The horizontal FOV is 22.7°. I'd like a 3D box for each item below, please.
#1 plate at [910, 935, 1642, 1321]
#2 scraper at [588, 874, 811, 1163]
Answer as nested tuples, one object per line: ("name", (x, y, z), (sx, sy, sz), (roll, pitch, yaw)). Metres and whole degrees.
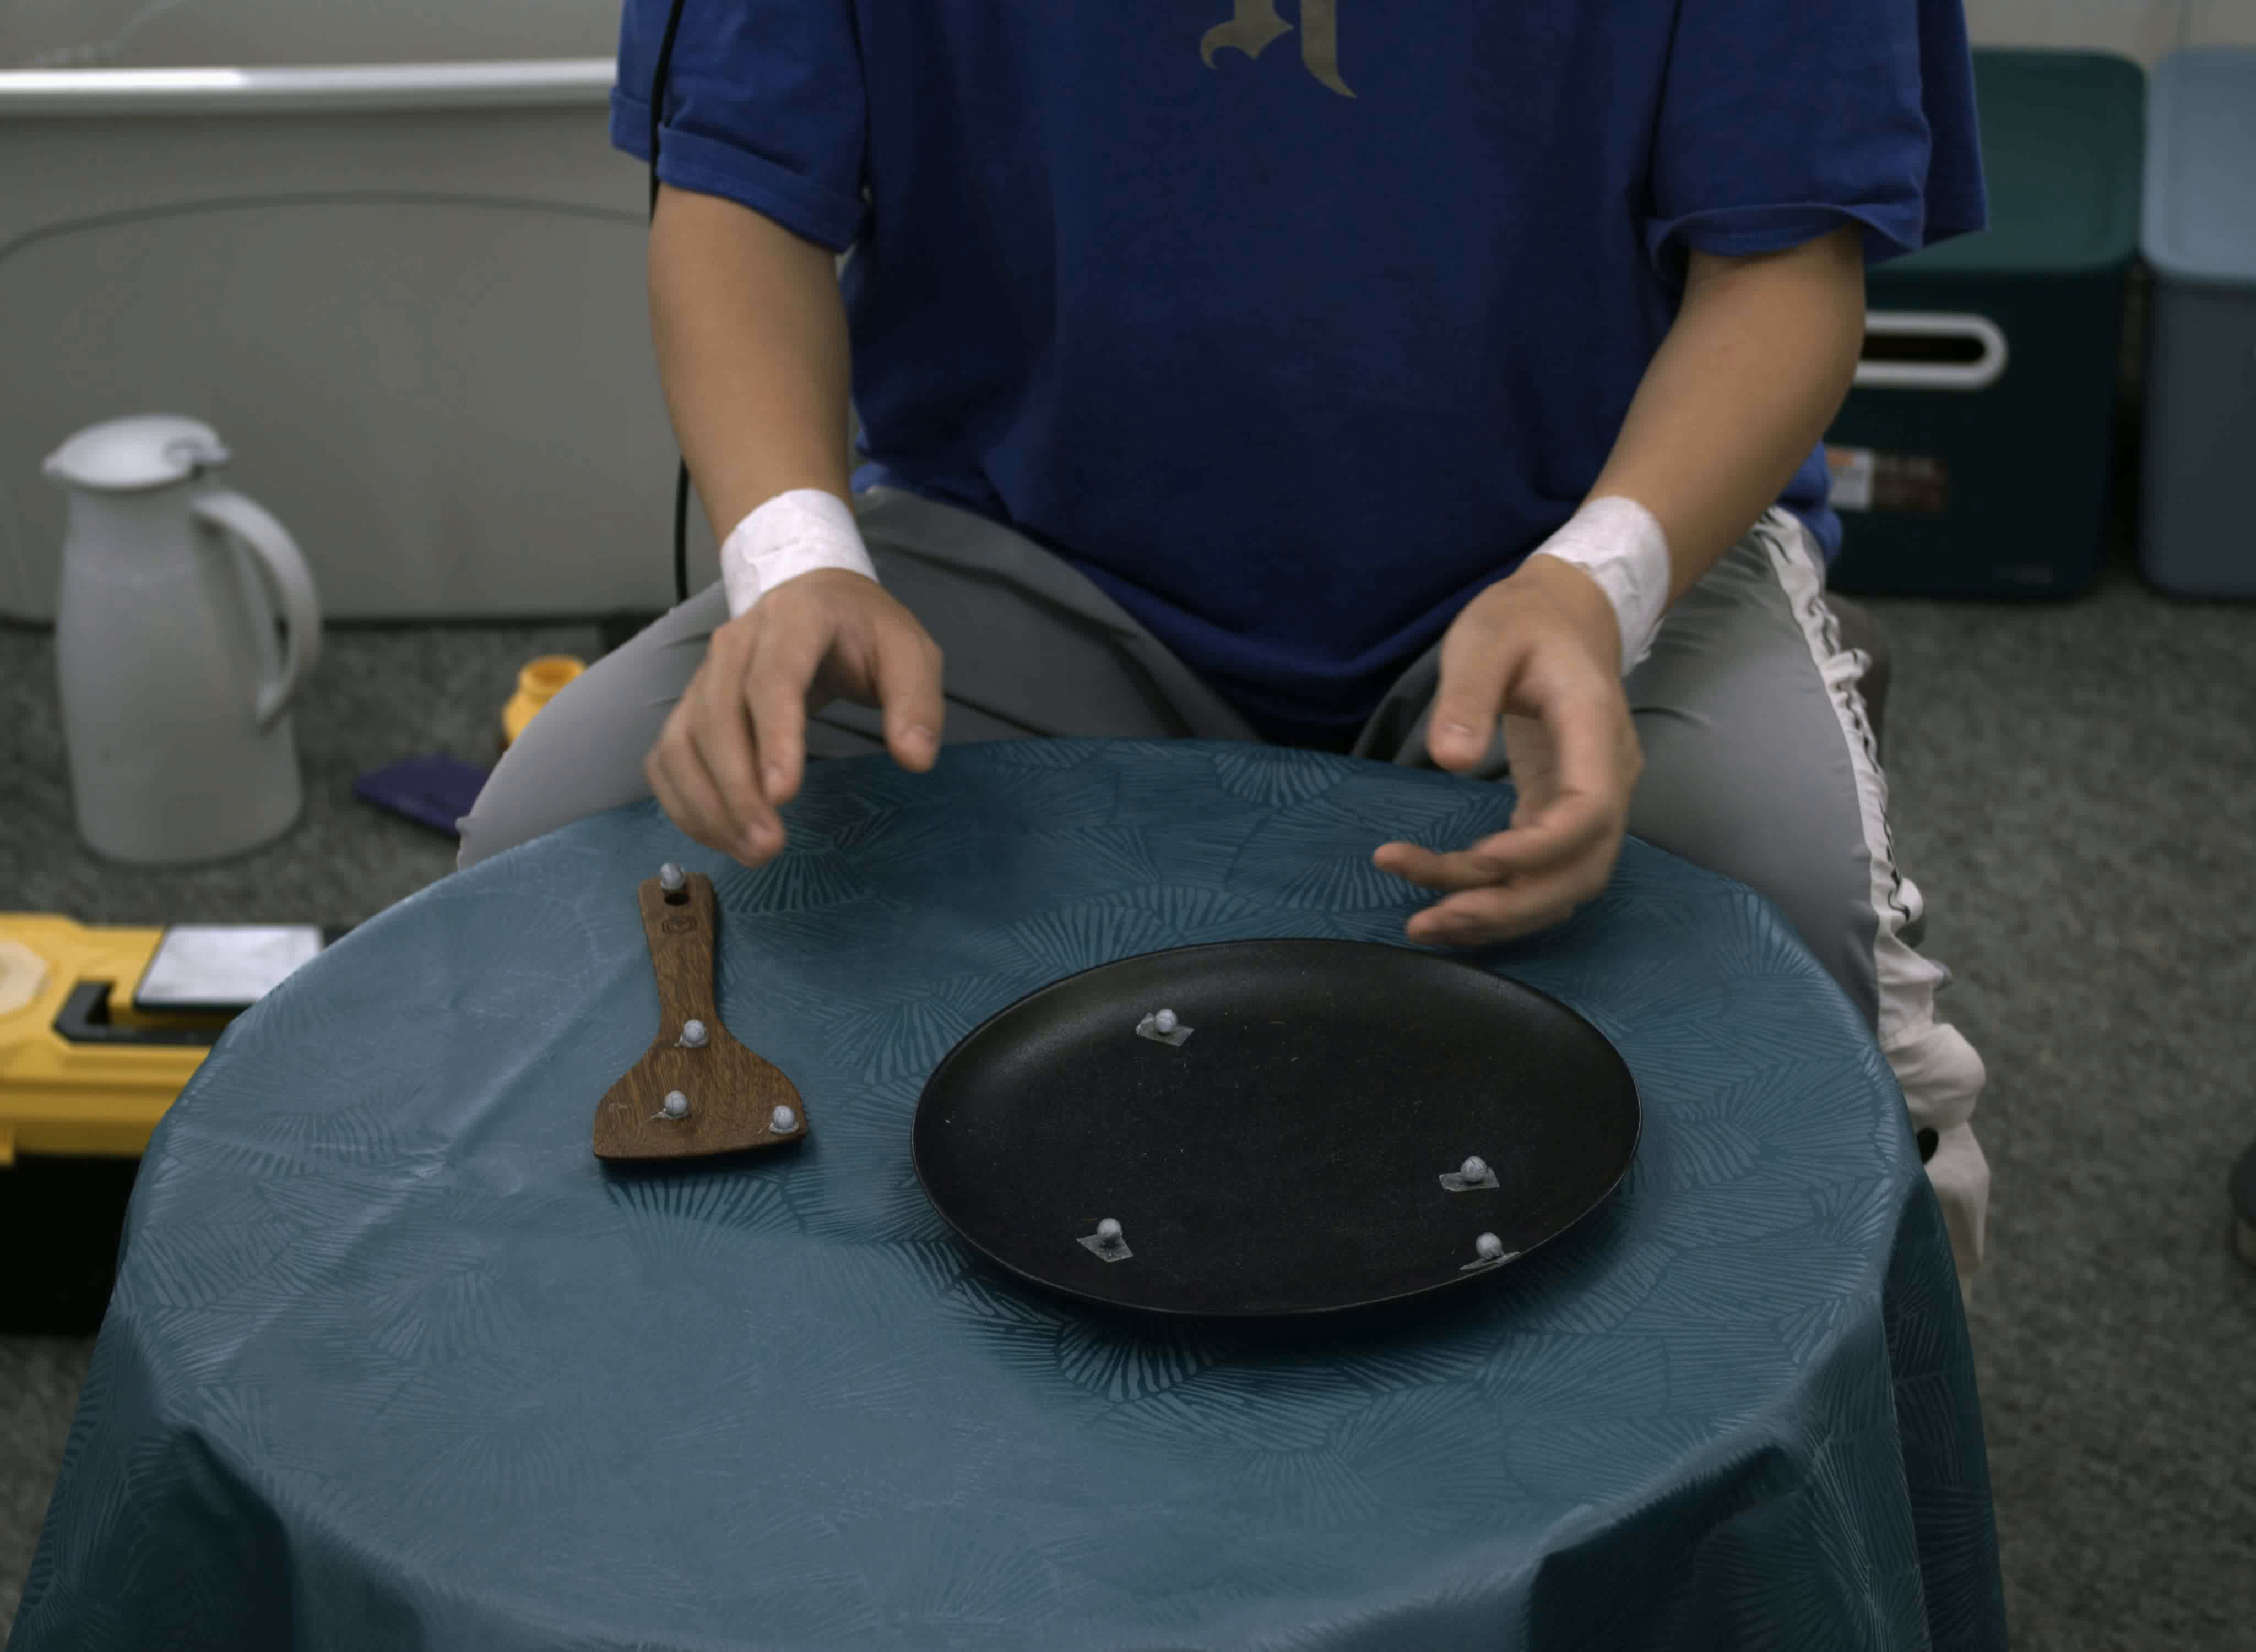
("plate", (0.049, 0.104, 1.865), (0.243, 0.023, 0.248), (-2, 27, 2))
("scraper", (-0.154, 0.067, 1.973), (0.075, 0.011, 0.214), (-5, 27, -5))
